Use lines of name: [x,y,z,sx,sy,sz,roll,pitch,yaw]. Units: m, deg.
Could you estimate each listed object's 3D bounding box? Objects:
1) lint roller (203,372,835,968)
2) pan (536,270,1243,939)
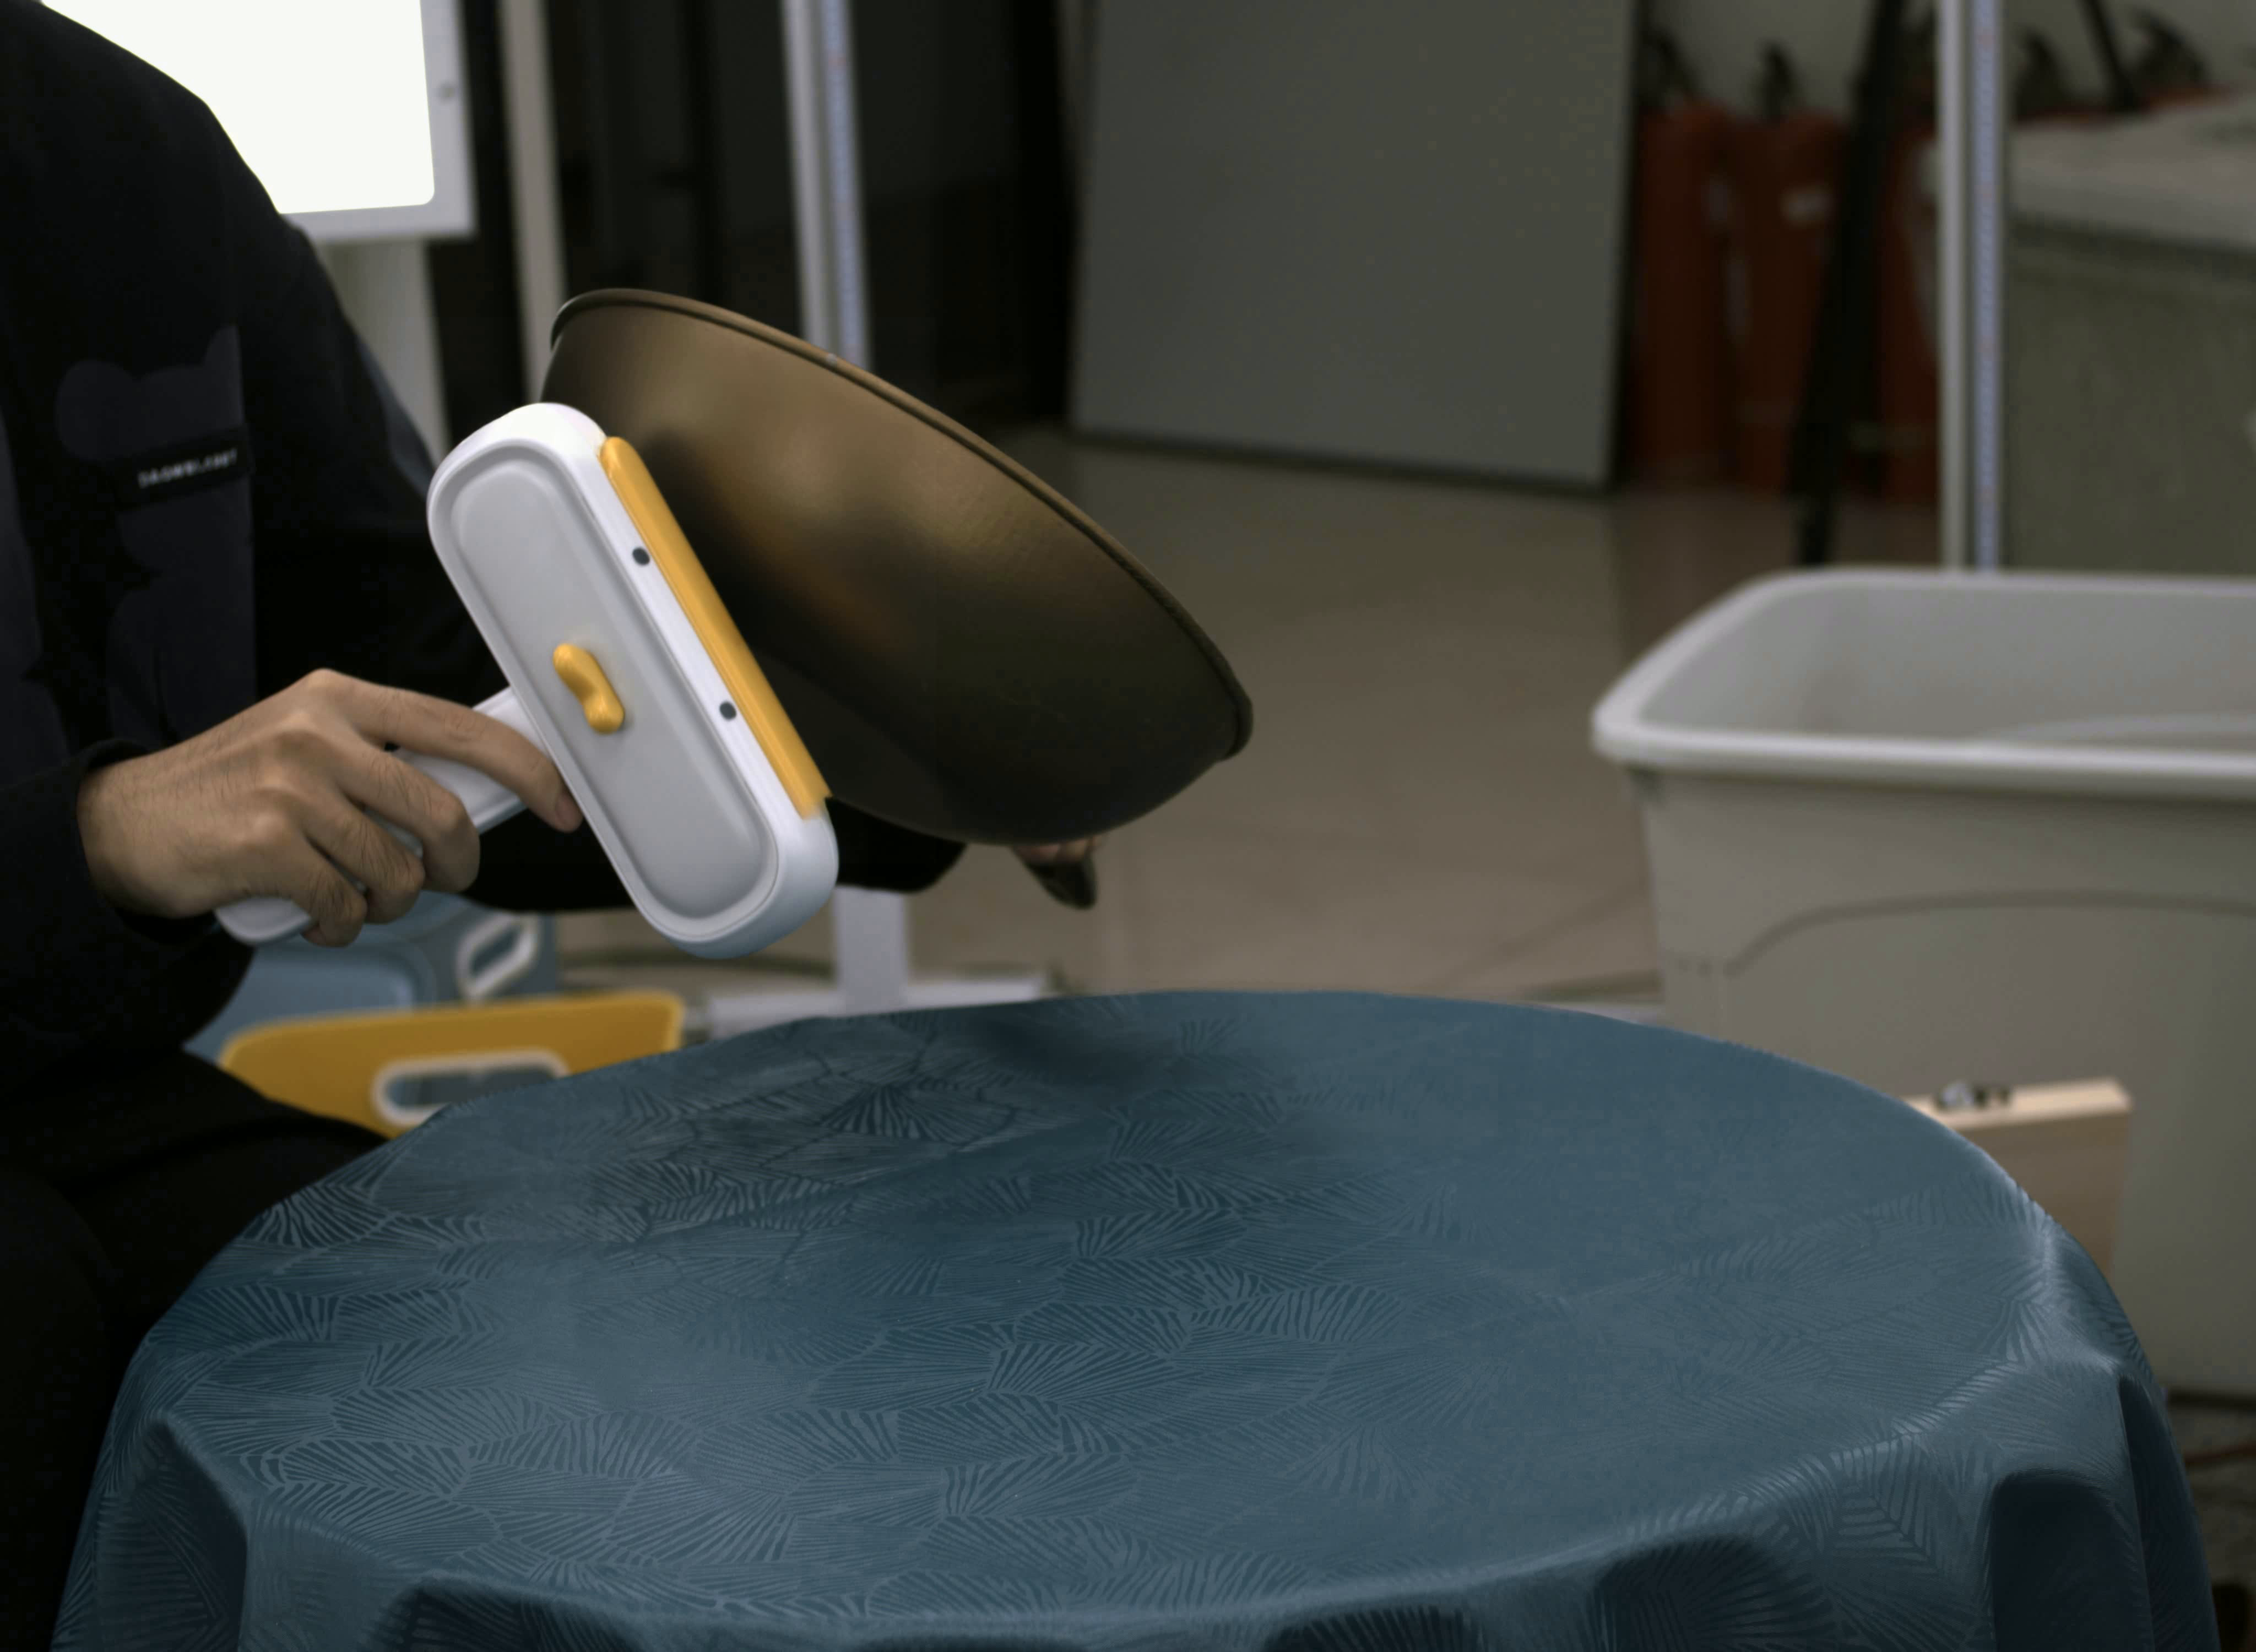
lint roller: [-0.212,-0.022,1.755,0.192,0.194,0.074,-34,-1,8]
pan: [-0.082,-0.035,1.948,0.289,0.087,0.461,26,-17,22]
